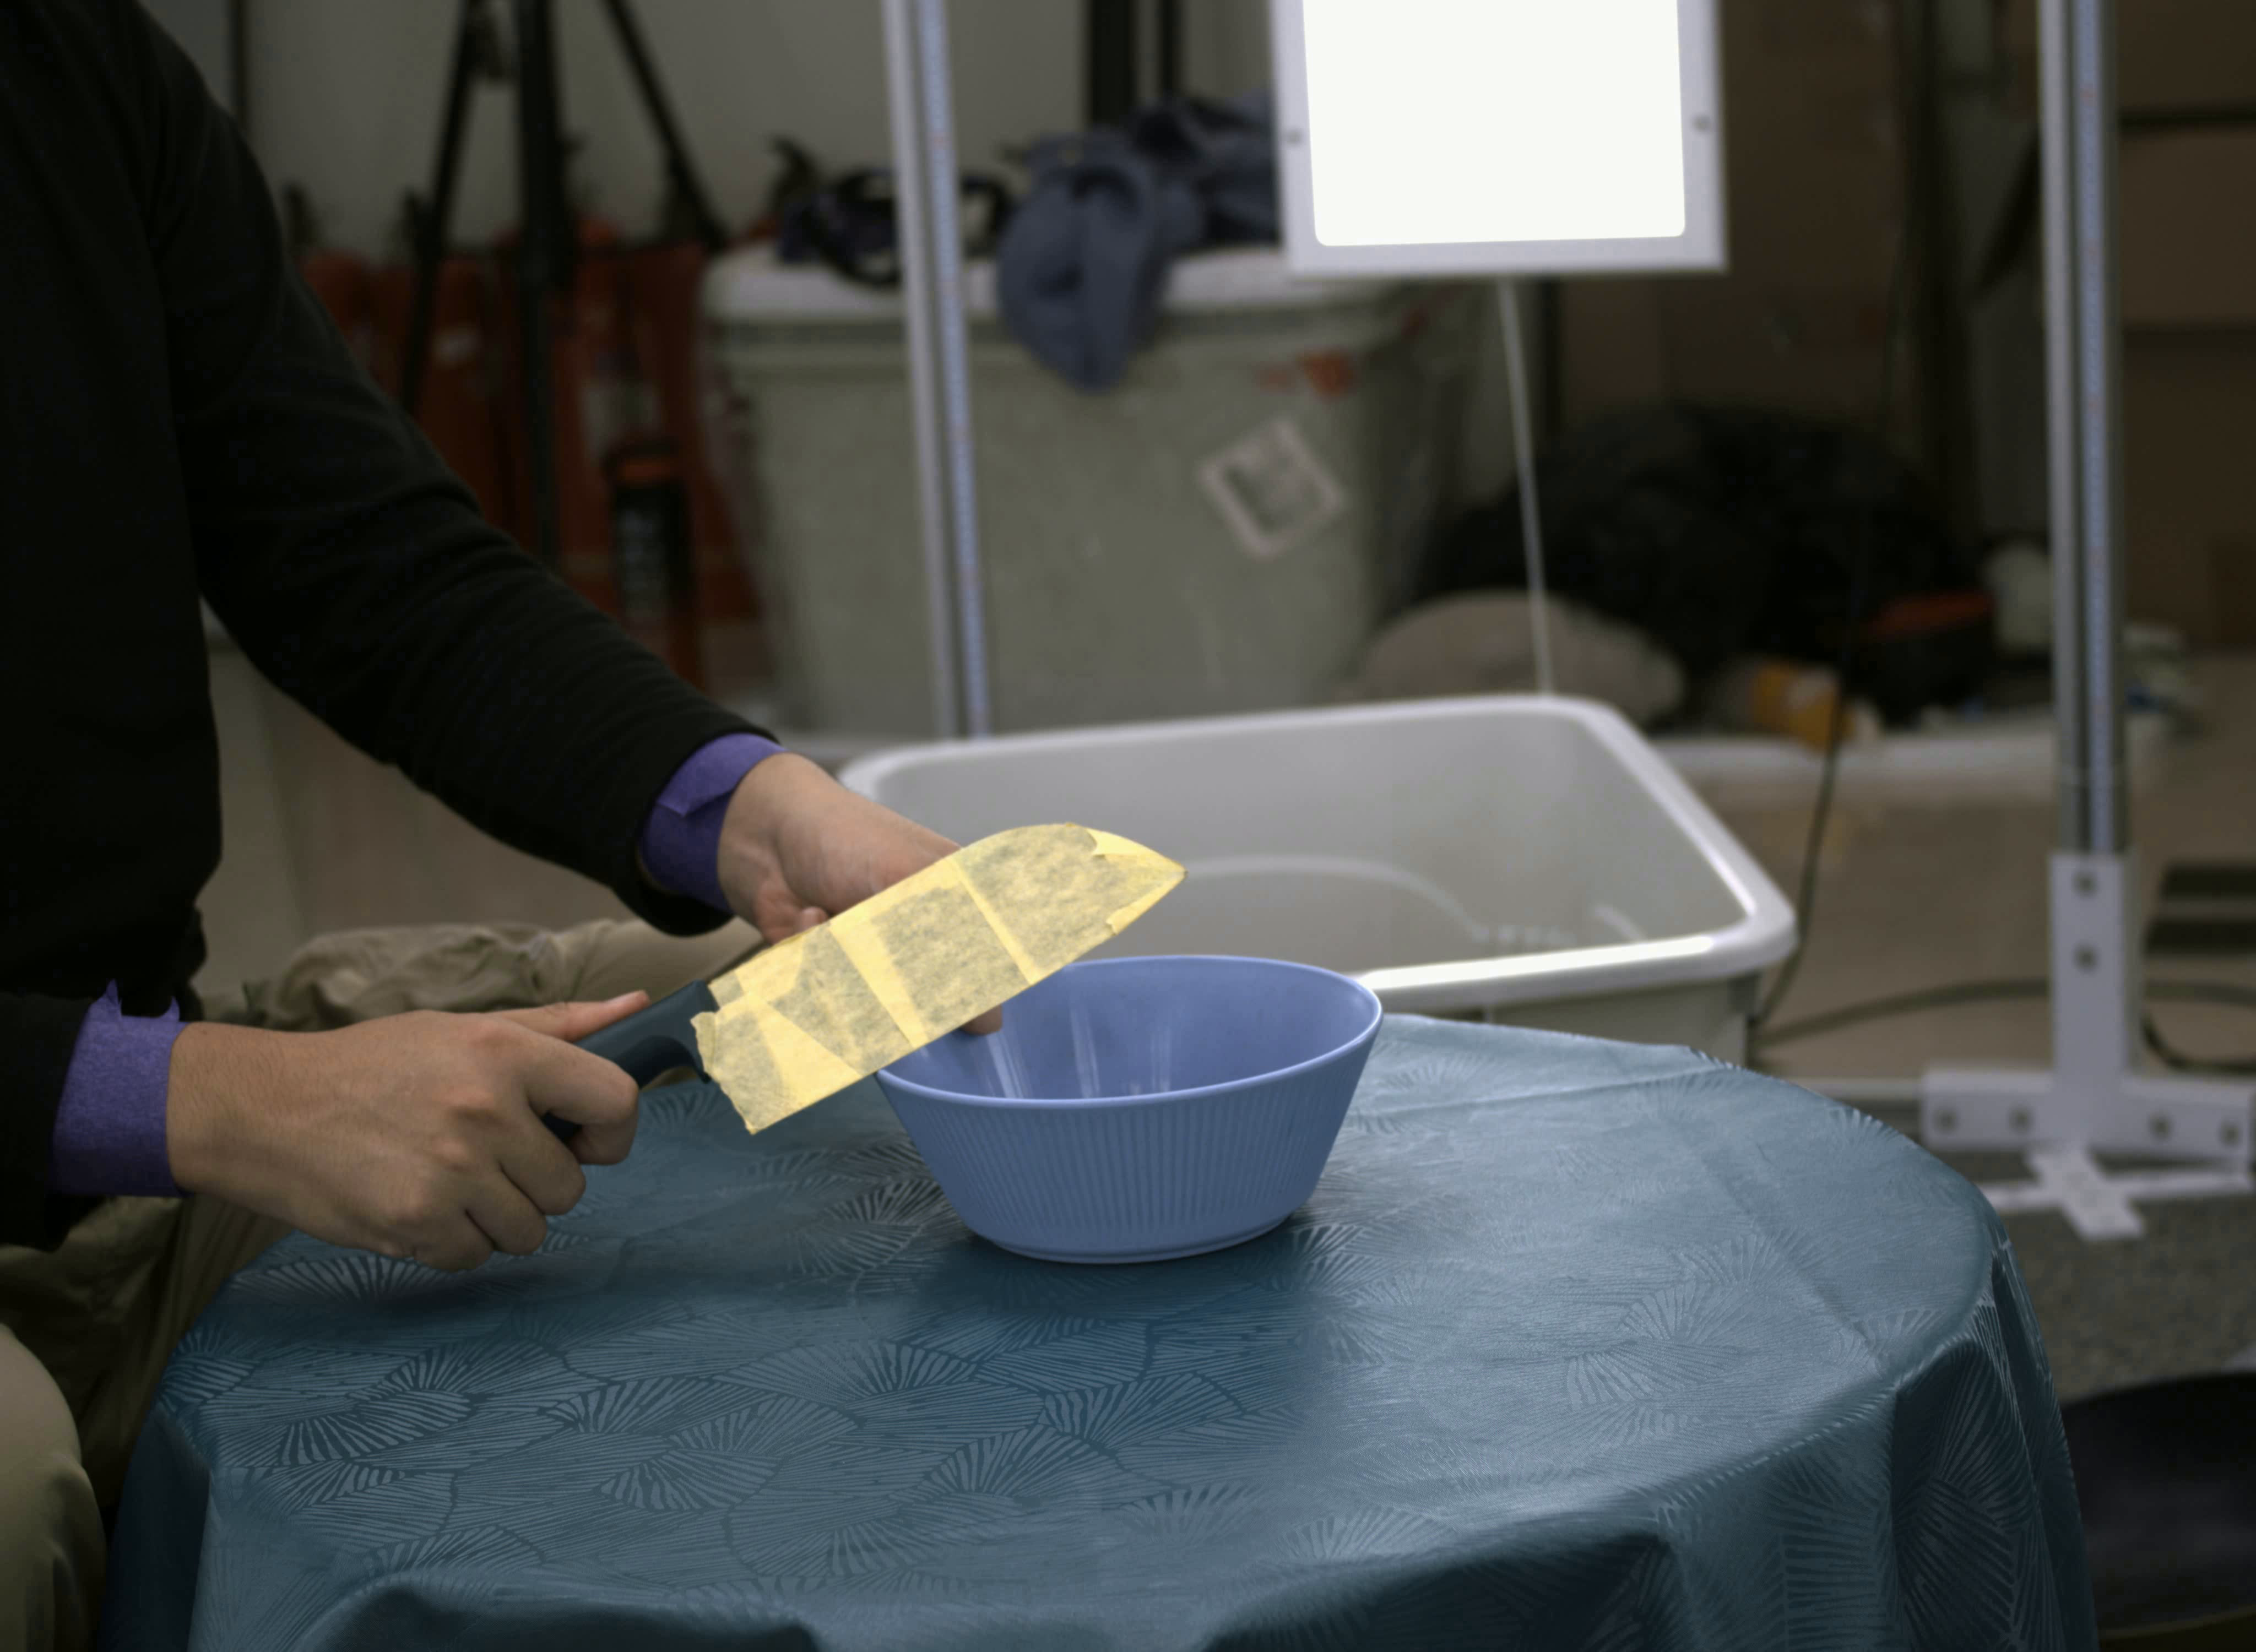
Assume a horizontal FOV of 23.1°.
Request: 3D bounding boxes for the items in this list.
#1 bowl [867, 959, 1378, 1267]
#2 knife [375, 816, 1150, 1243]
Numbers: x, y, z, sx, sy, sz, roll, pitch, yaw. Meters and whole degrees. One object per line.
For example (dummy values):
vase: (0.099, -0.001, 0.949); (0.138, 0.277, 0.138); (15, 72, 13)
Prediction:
bowl: (0.001, 0.100, 1.863); (0.175, 0.070, 0.176); (-6, 14, 0)
knife: (-0.120, 0.071, 1.860); (0.288, 0.027, 0.082); (-28, 42, -3)
